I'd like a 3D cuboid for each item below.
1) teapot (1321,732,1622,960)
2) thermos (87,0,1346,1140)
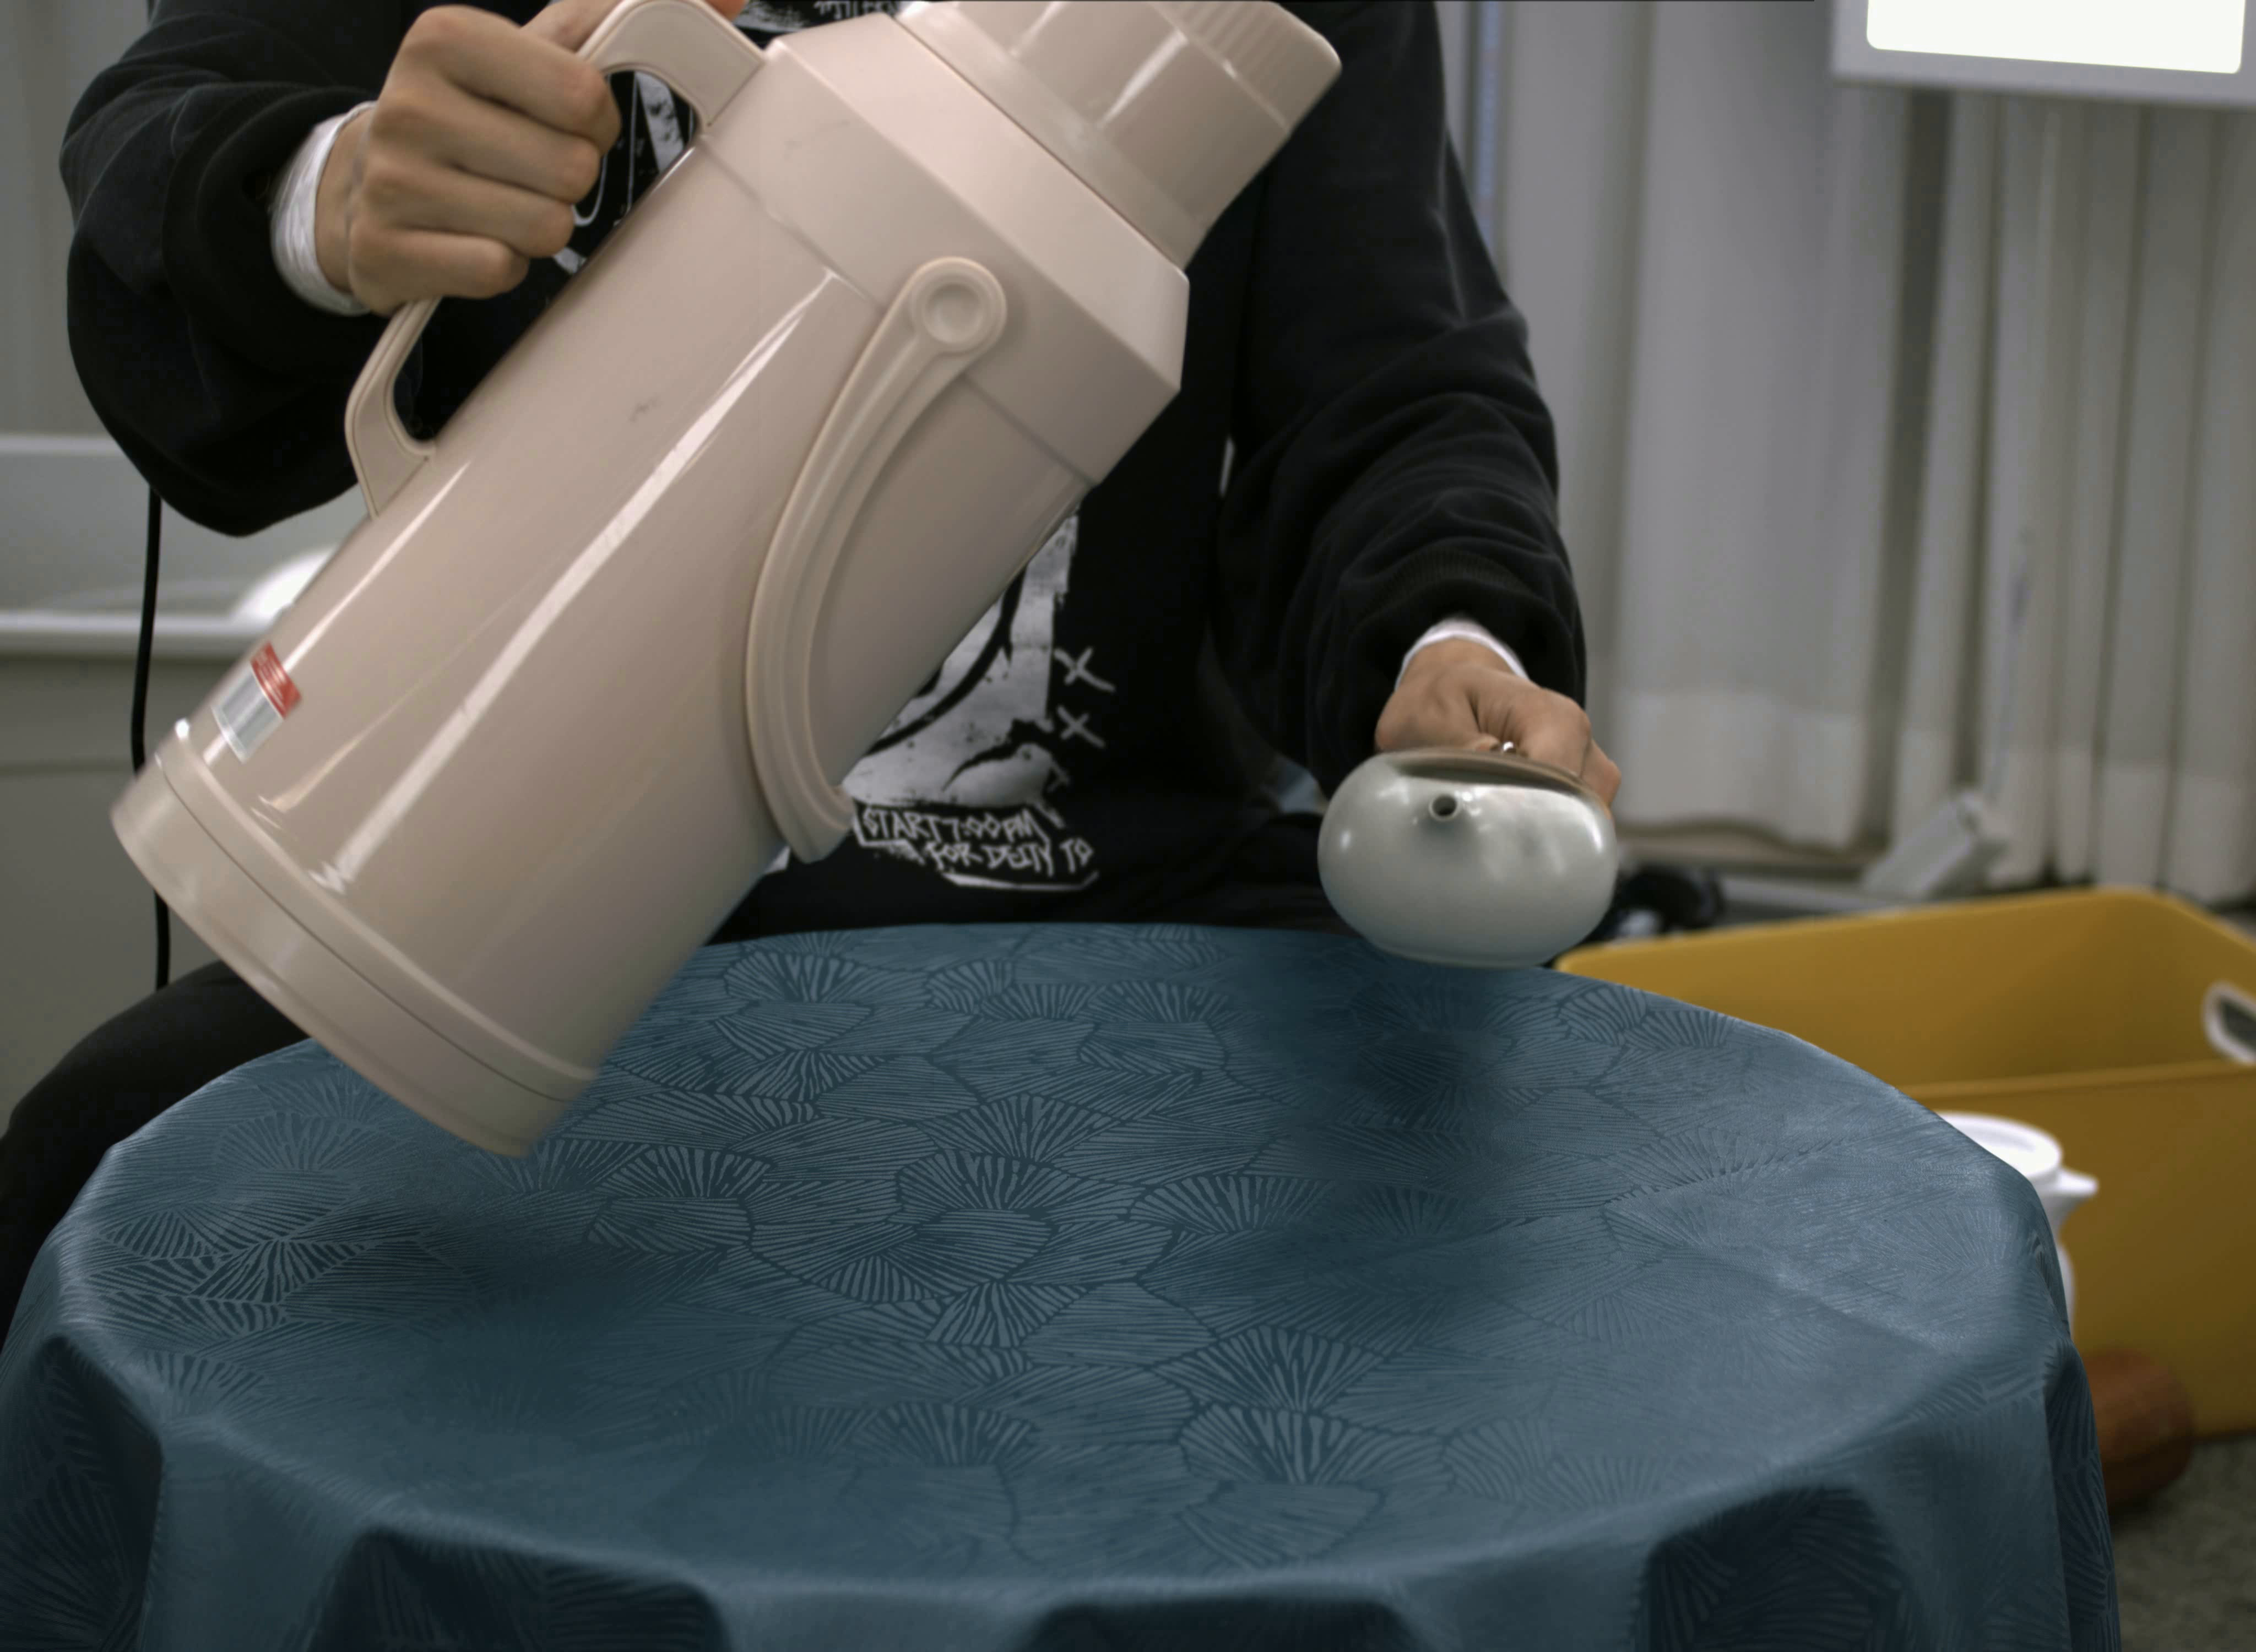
[{"bbox_3d":[0.106,0.005,1.609,0.091,0.060,0.128,4,11,11],"label":"teapot"},{"bbox_3d":[-0.121,-0.116,1.522,0.208,0.406,0.174,42,4,-16],"label":"thermos"}]
